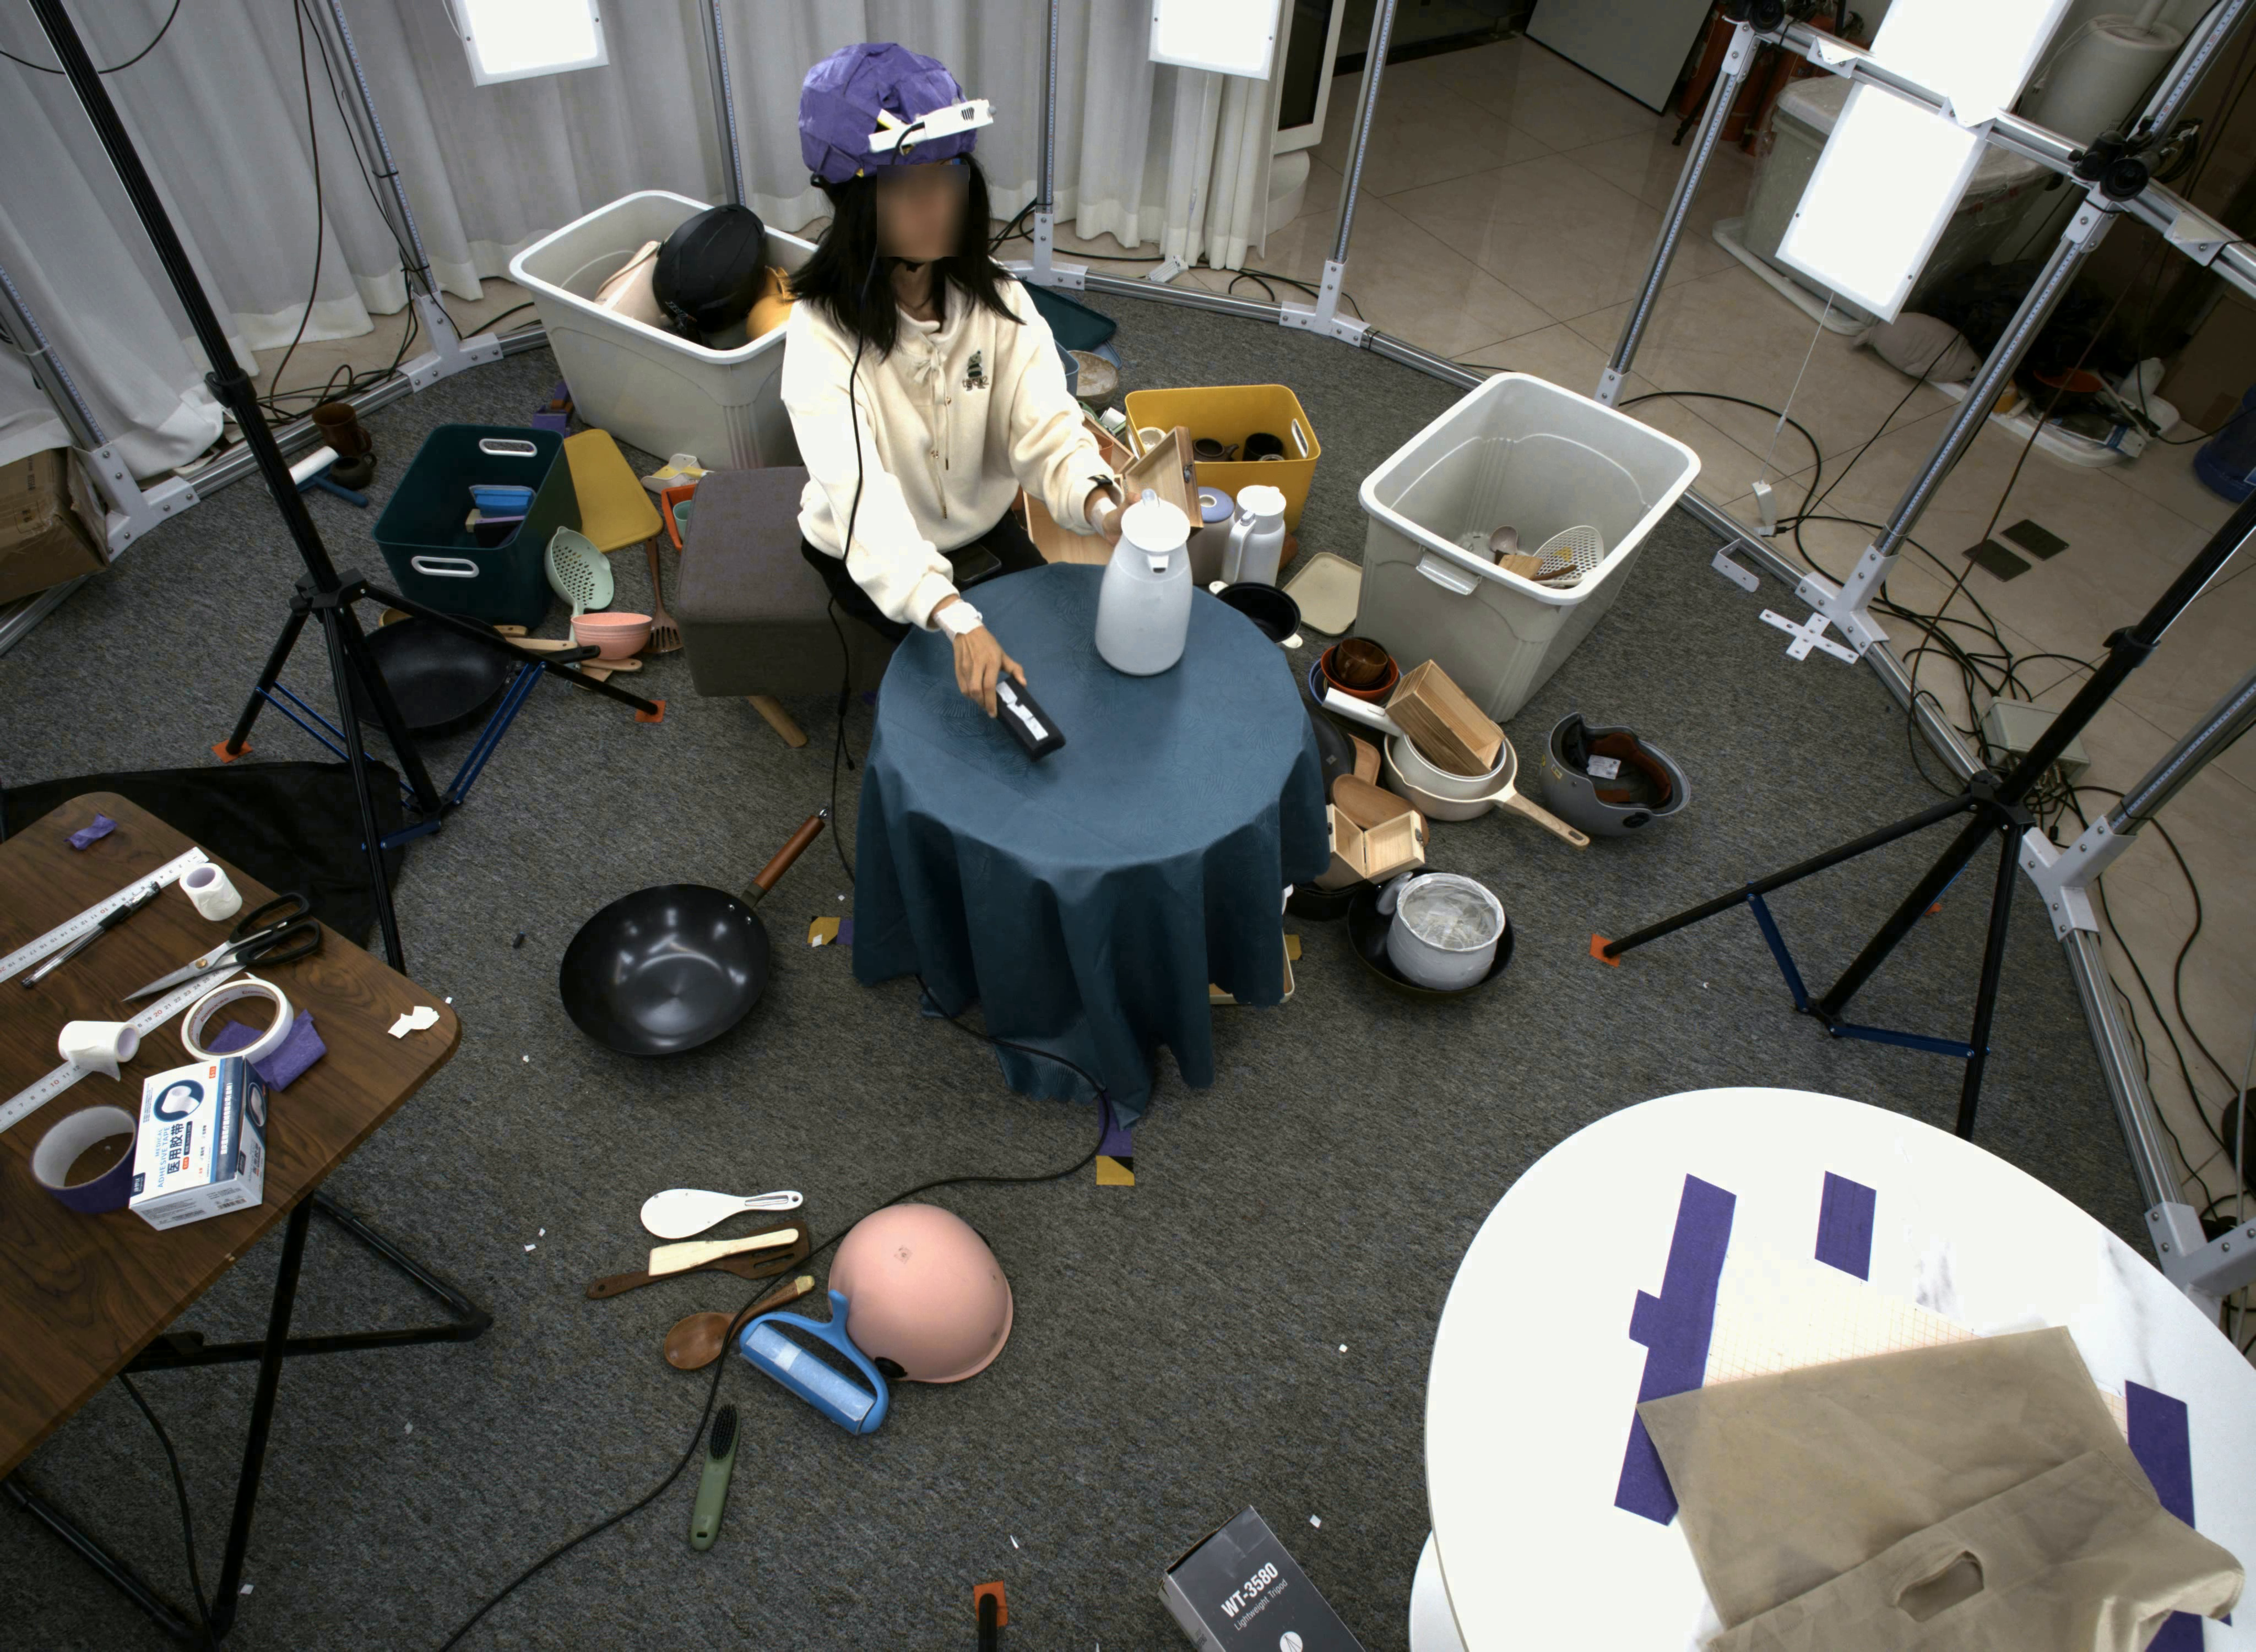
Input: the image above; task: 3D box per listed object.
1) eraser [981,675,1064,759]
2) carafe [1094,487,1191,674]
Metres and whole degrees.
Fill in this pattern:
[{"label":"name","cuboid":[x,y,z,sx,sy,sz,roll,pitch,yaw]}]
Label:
[{"label":"eraser","cuboid":[-0.141,-0.147,1.724,0.054,0.030,0.128,-31,61,-19]},{"label":"carafe","cuboid":[0.023,-0.355,1.796,0.132,0.243,0.171,-3,58,-7]}]
